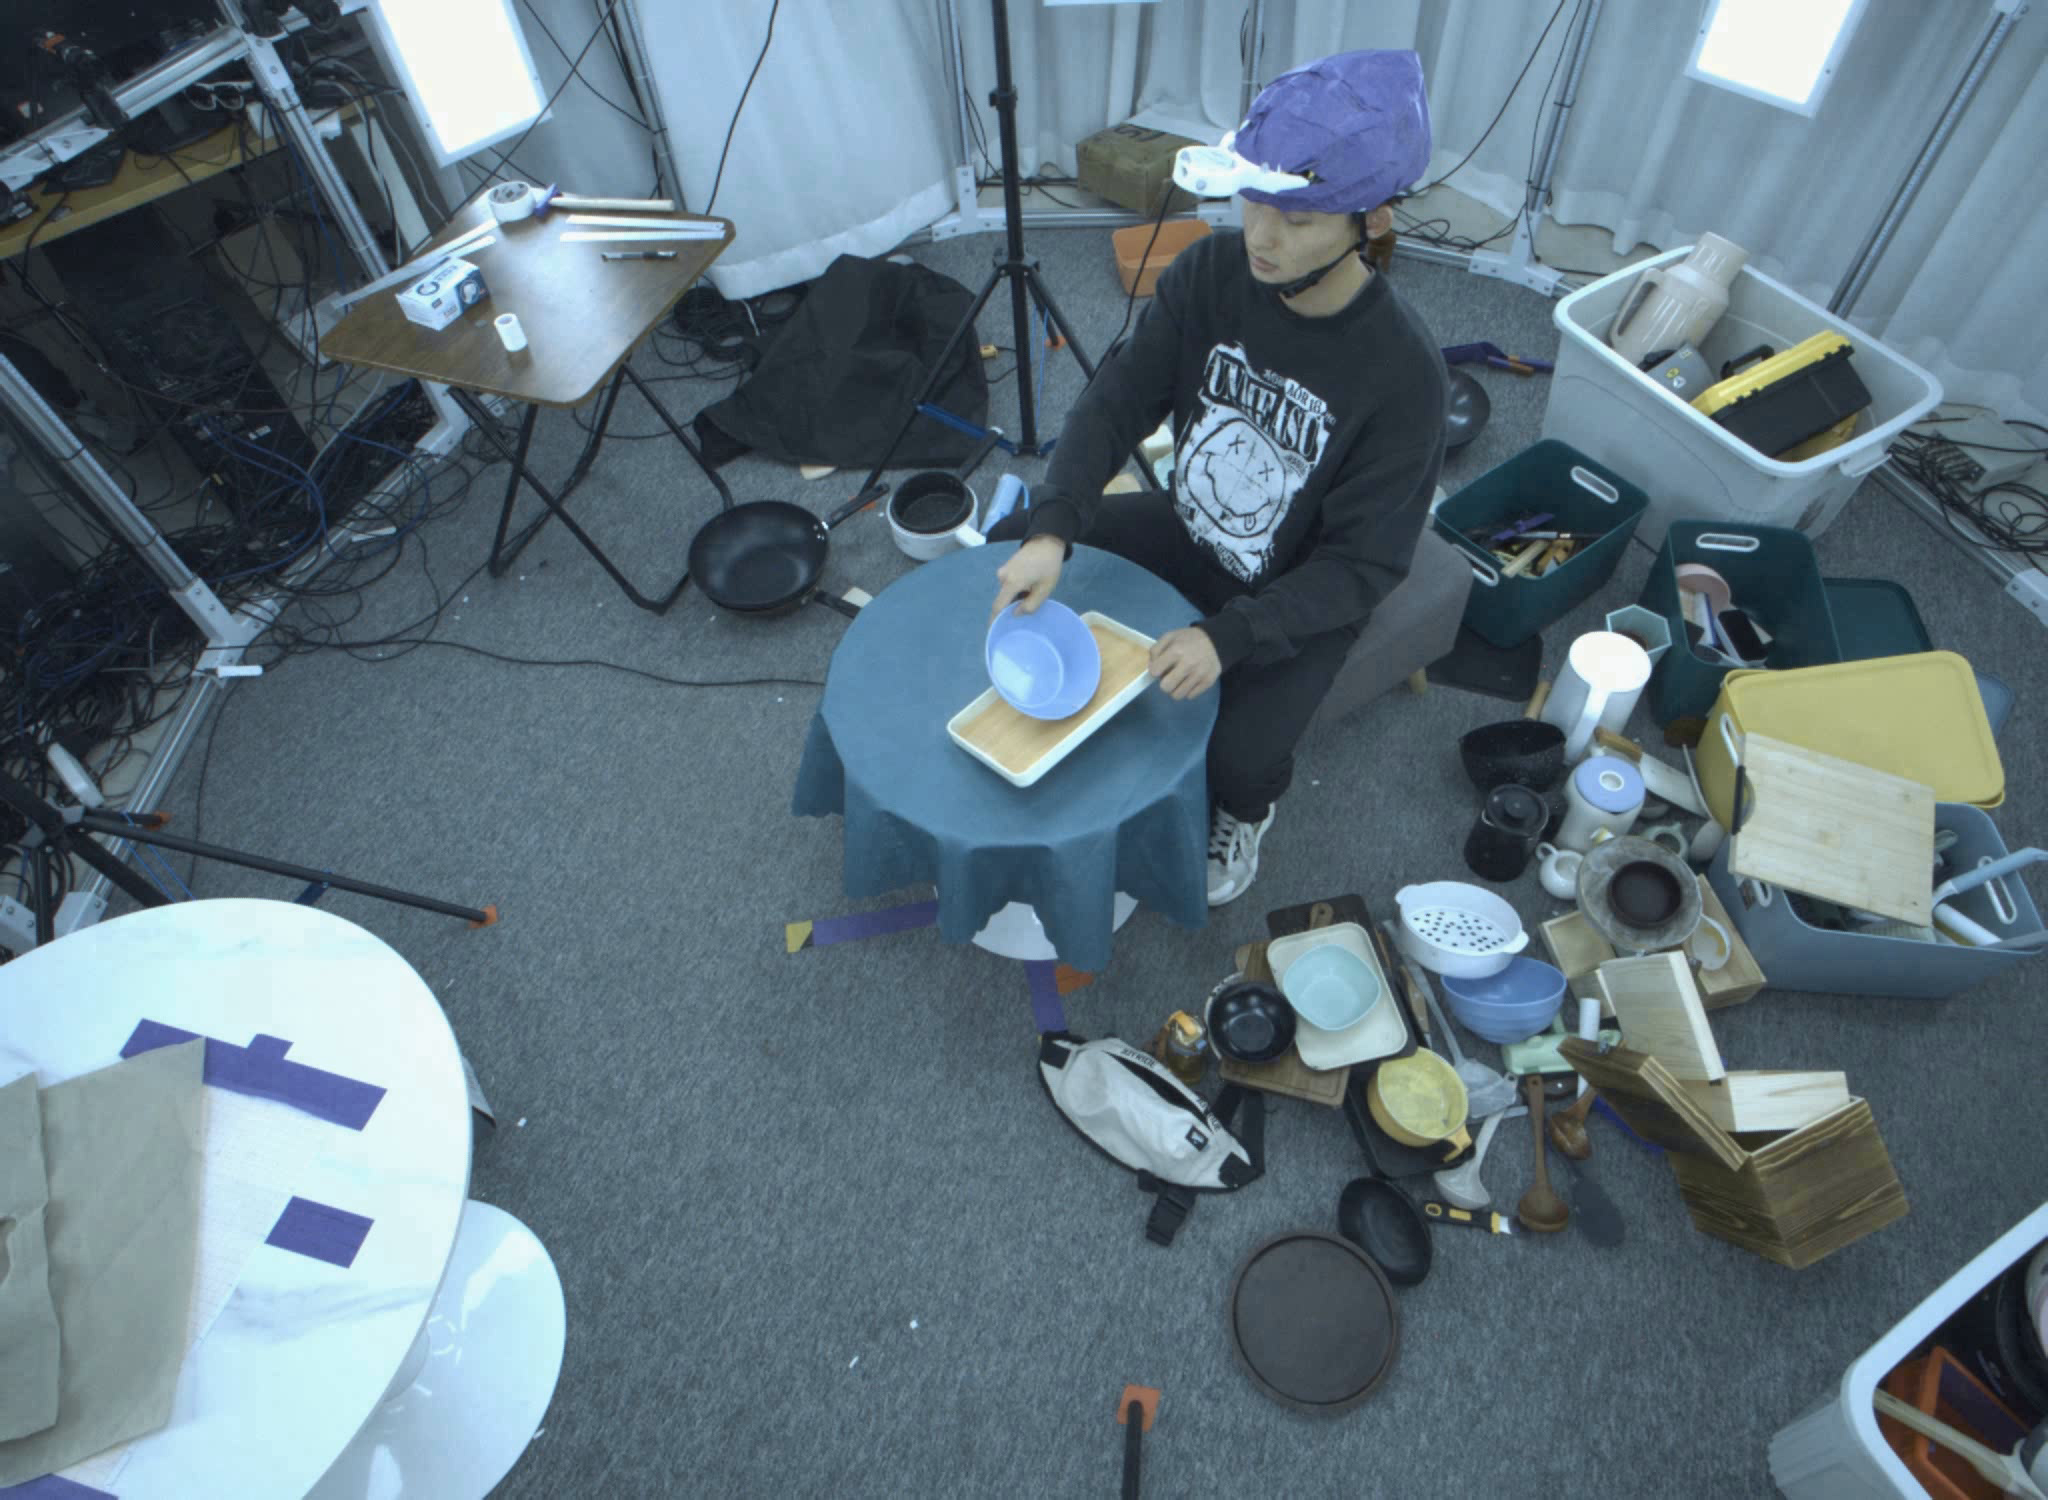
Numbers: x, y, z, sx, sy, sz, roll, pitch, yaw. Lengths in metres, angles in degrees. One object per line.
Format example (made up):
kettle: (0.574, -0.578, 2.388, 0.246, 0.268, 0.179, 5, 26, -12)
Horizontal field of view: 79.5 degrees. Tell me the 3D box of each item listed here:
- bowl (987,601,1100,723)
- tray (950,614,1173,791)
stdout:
bowl: (0.016, -0.119, 1.749, 0.179, 0.069, 0.175, 5, 79, -26)
tray: (0.054, -0.075, 1.785, 0.302, 0.028, 0.187, -40, 45, -16)
